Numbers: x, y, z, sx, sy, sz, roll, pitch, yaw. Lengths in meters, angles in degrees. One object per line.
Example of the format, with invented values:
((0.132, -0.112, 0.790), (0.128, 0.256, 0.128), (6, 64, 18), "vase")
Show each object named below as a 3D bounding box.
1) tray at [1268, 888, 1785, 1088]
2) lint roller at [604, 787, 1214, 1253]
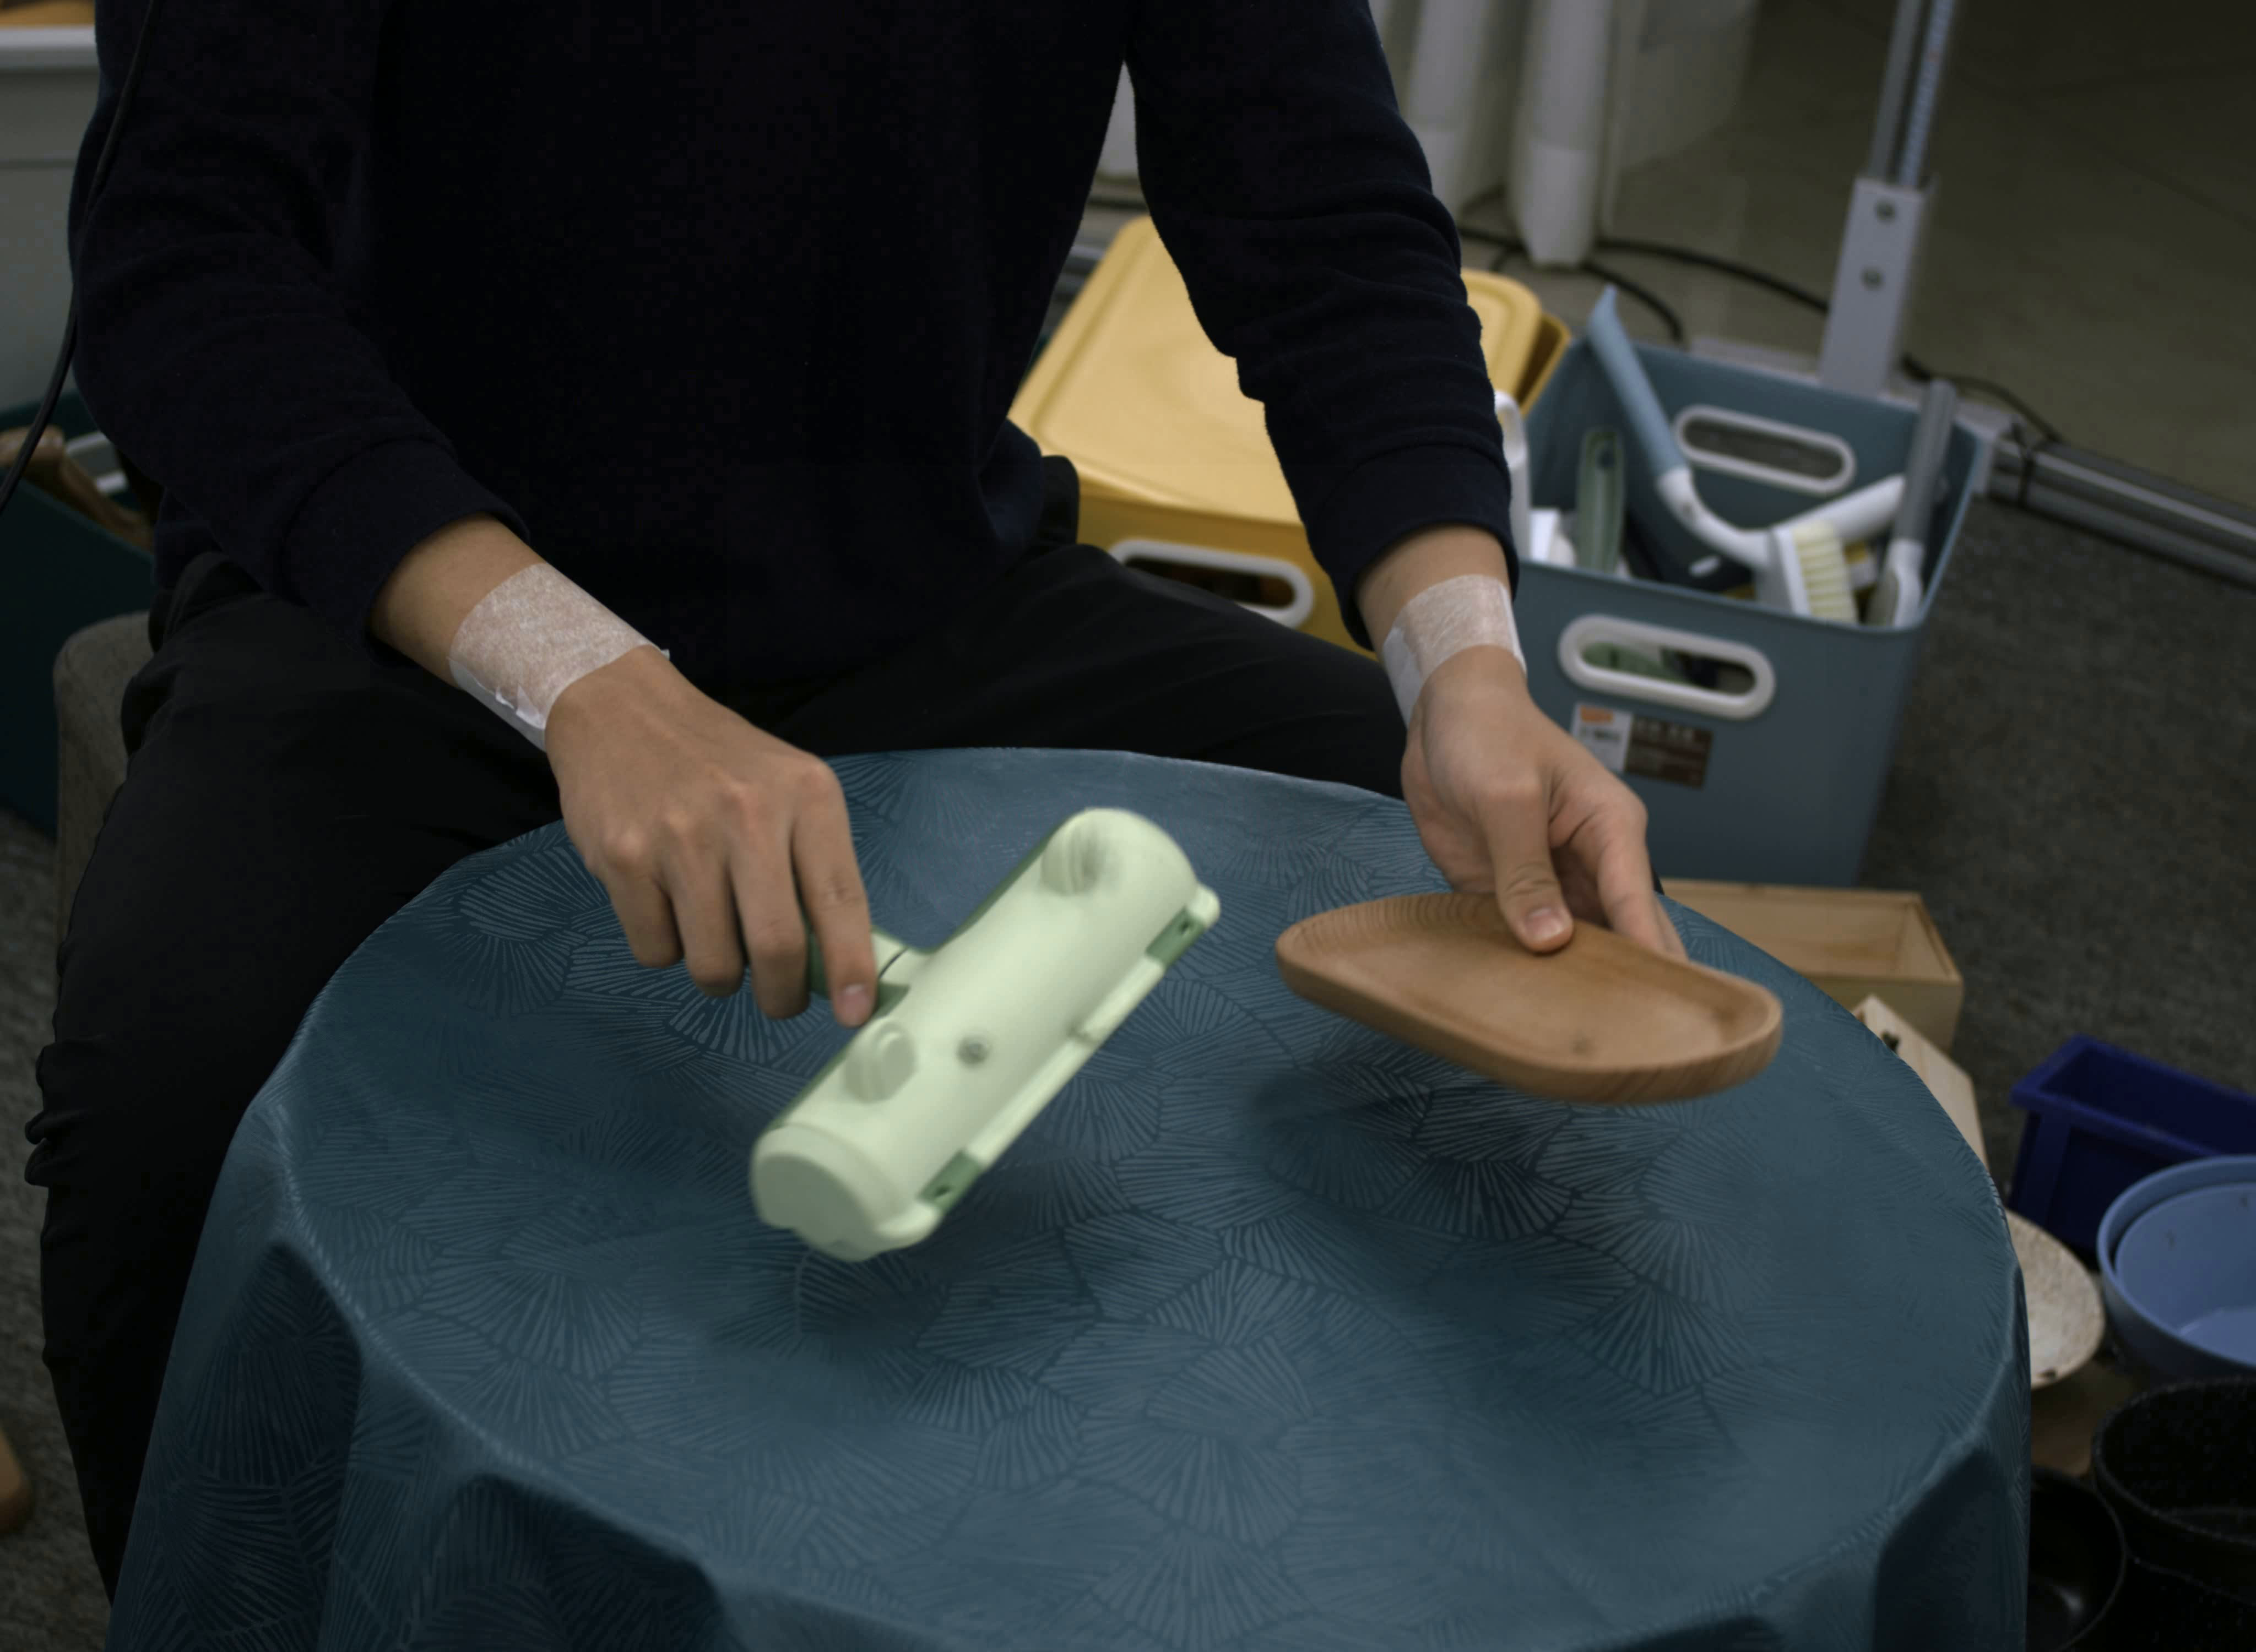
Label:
((0.133, 0.054, 1.804), (0.101, 0.020, 0.232), (-12, 15, -28), "tray")
((-0.091, 0.027, 1.752), (0.183, 0.082, 0.199), (33, 49, 9), "lint roller")
